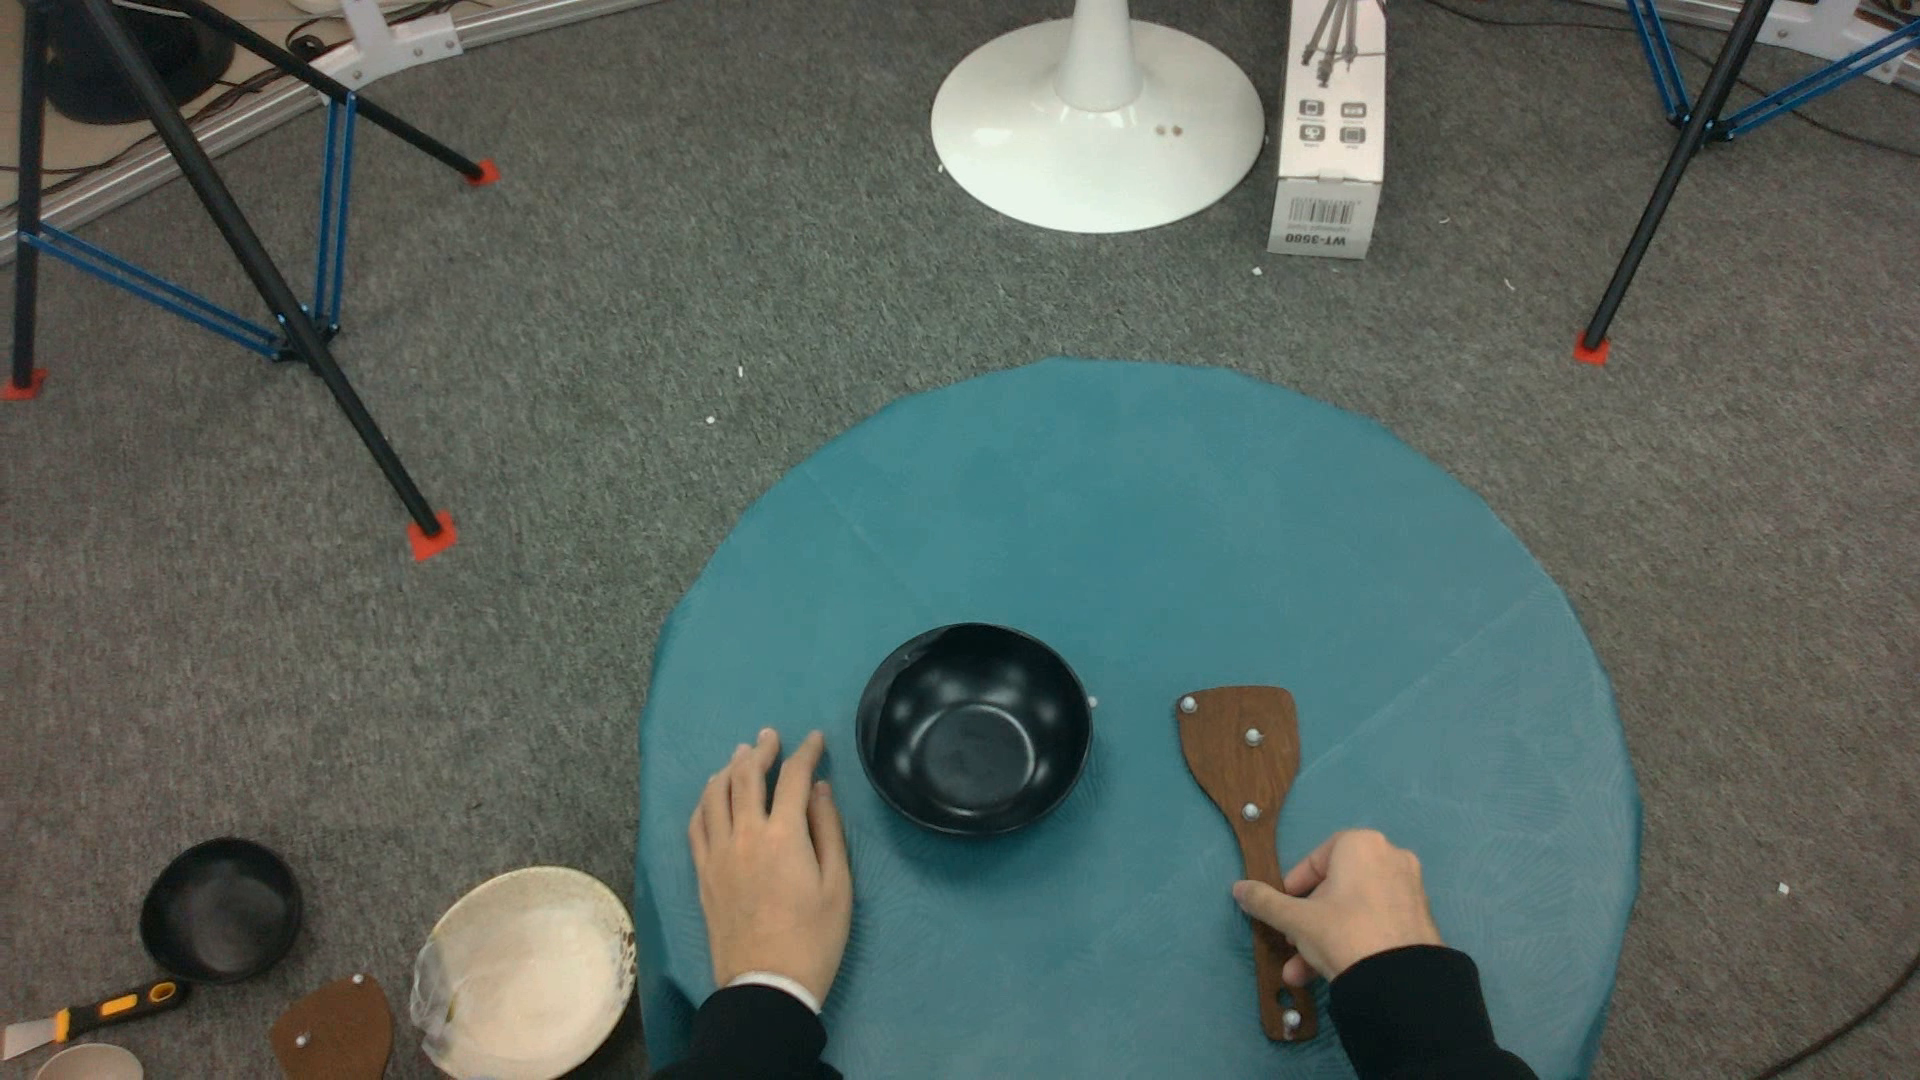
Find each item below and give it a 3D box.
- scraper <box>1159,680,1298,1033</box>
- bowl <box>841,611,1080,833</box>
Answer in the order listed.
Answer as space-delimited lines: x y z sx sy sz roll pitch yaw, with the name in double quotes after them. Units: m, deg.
0.162 0.175 0.790 0.076 0.011 0.212 -2 54 0 "scraper"
0.000 0.114 0.814 0.140 0.049 0.140 1 56 -2 "bowl"
